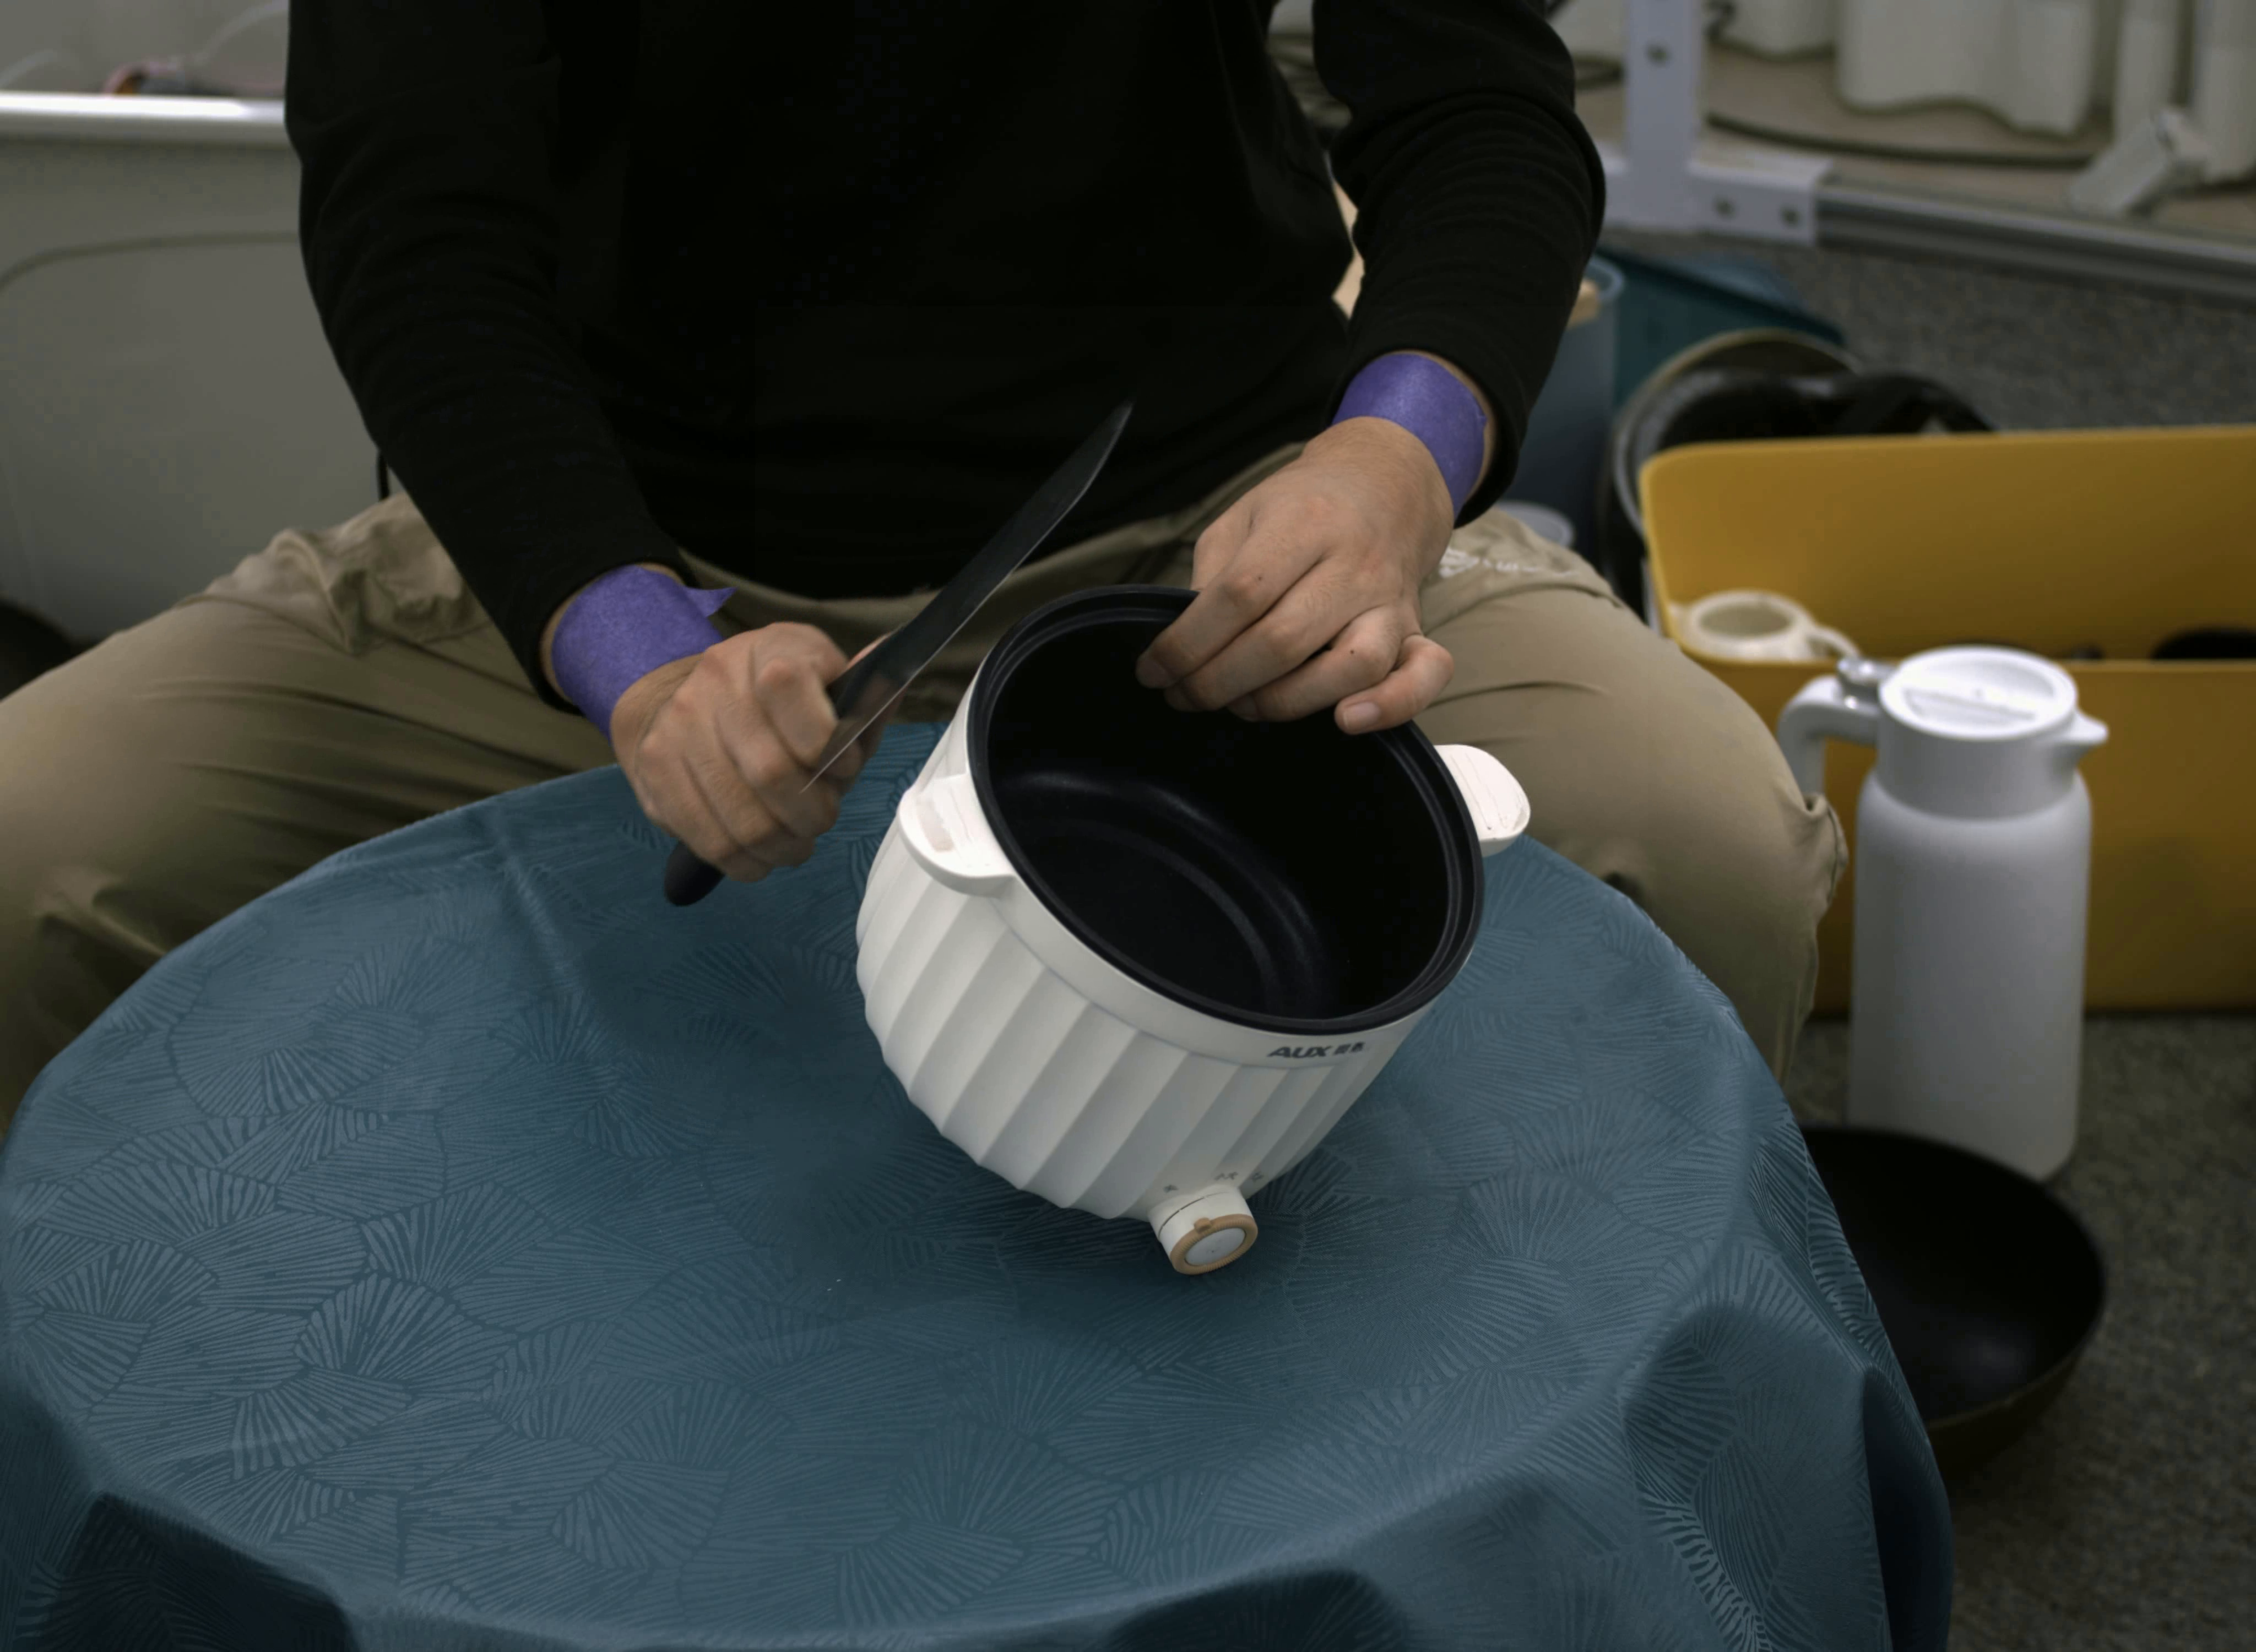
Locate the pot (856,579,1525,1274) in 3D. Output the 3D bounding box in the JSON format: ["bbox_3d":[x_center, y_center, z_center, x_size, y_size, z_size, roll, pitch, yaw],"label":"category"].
[{"bbox_3d":[0.009,0.036,1.826,0.241,0.140,0.193,-4,50,-34],"label":"pot"}]

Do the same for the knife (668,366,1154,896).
[{"bbox_3d":[-0.077,-0.054,1.861,0.021,0.297,0.082,38,47,-9],"label":"knife"}]
